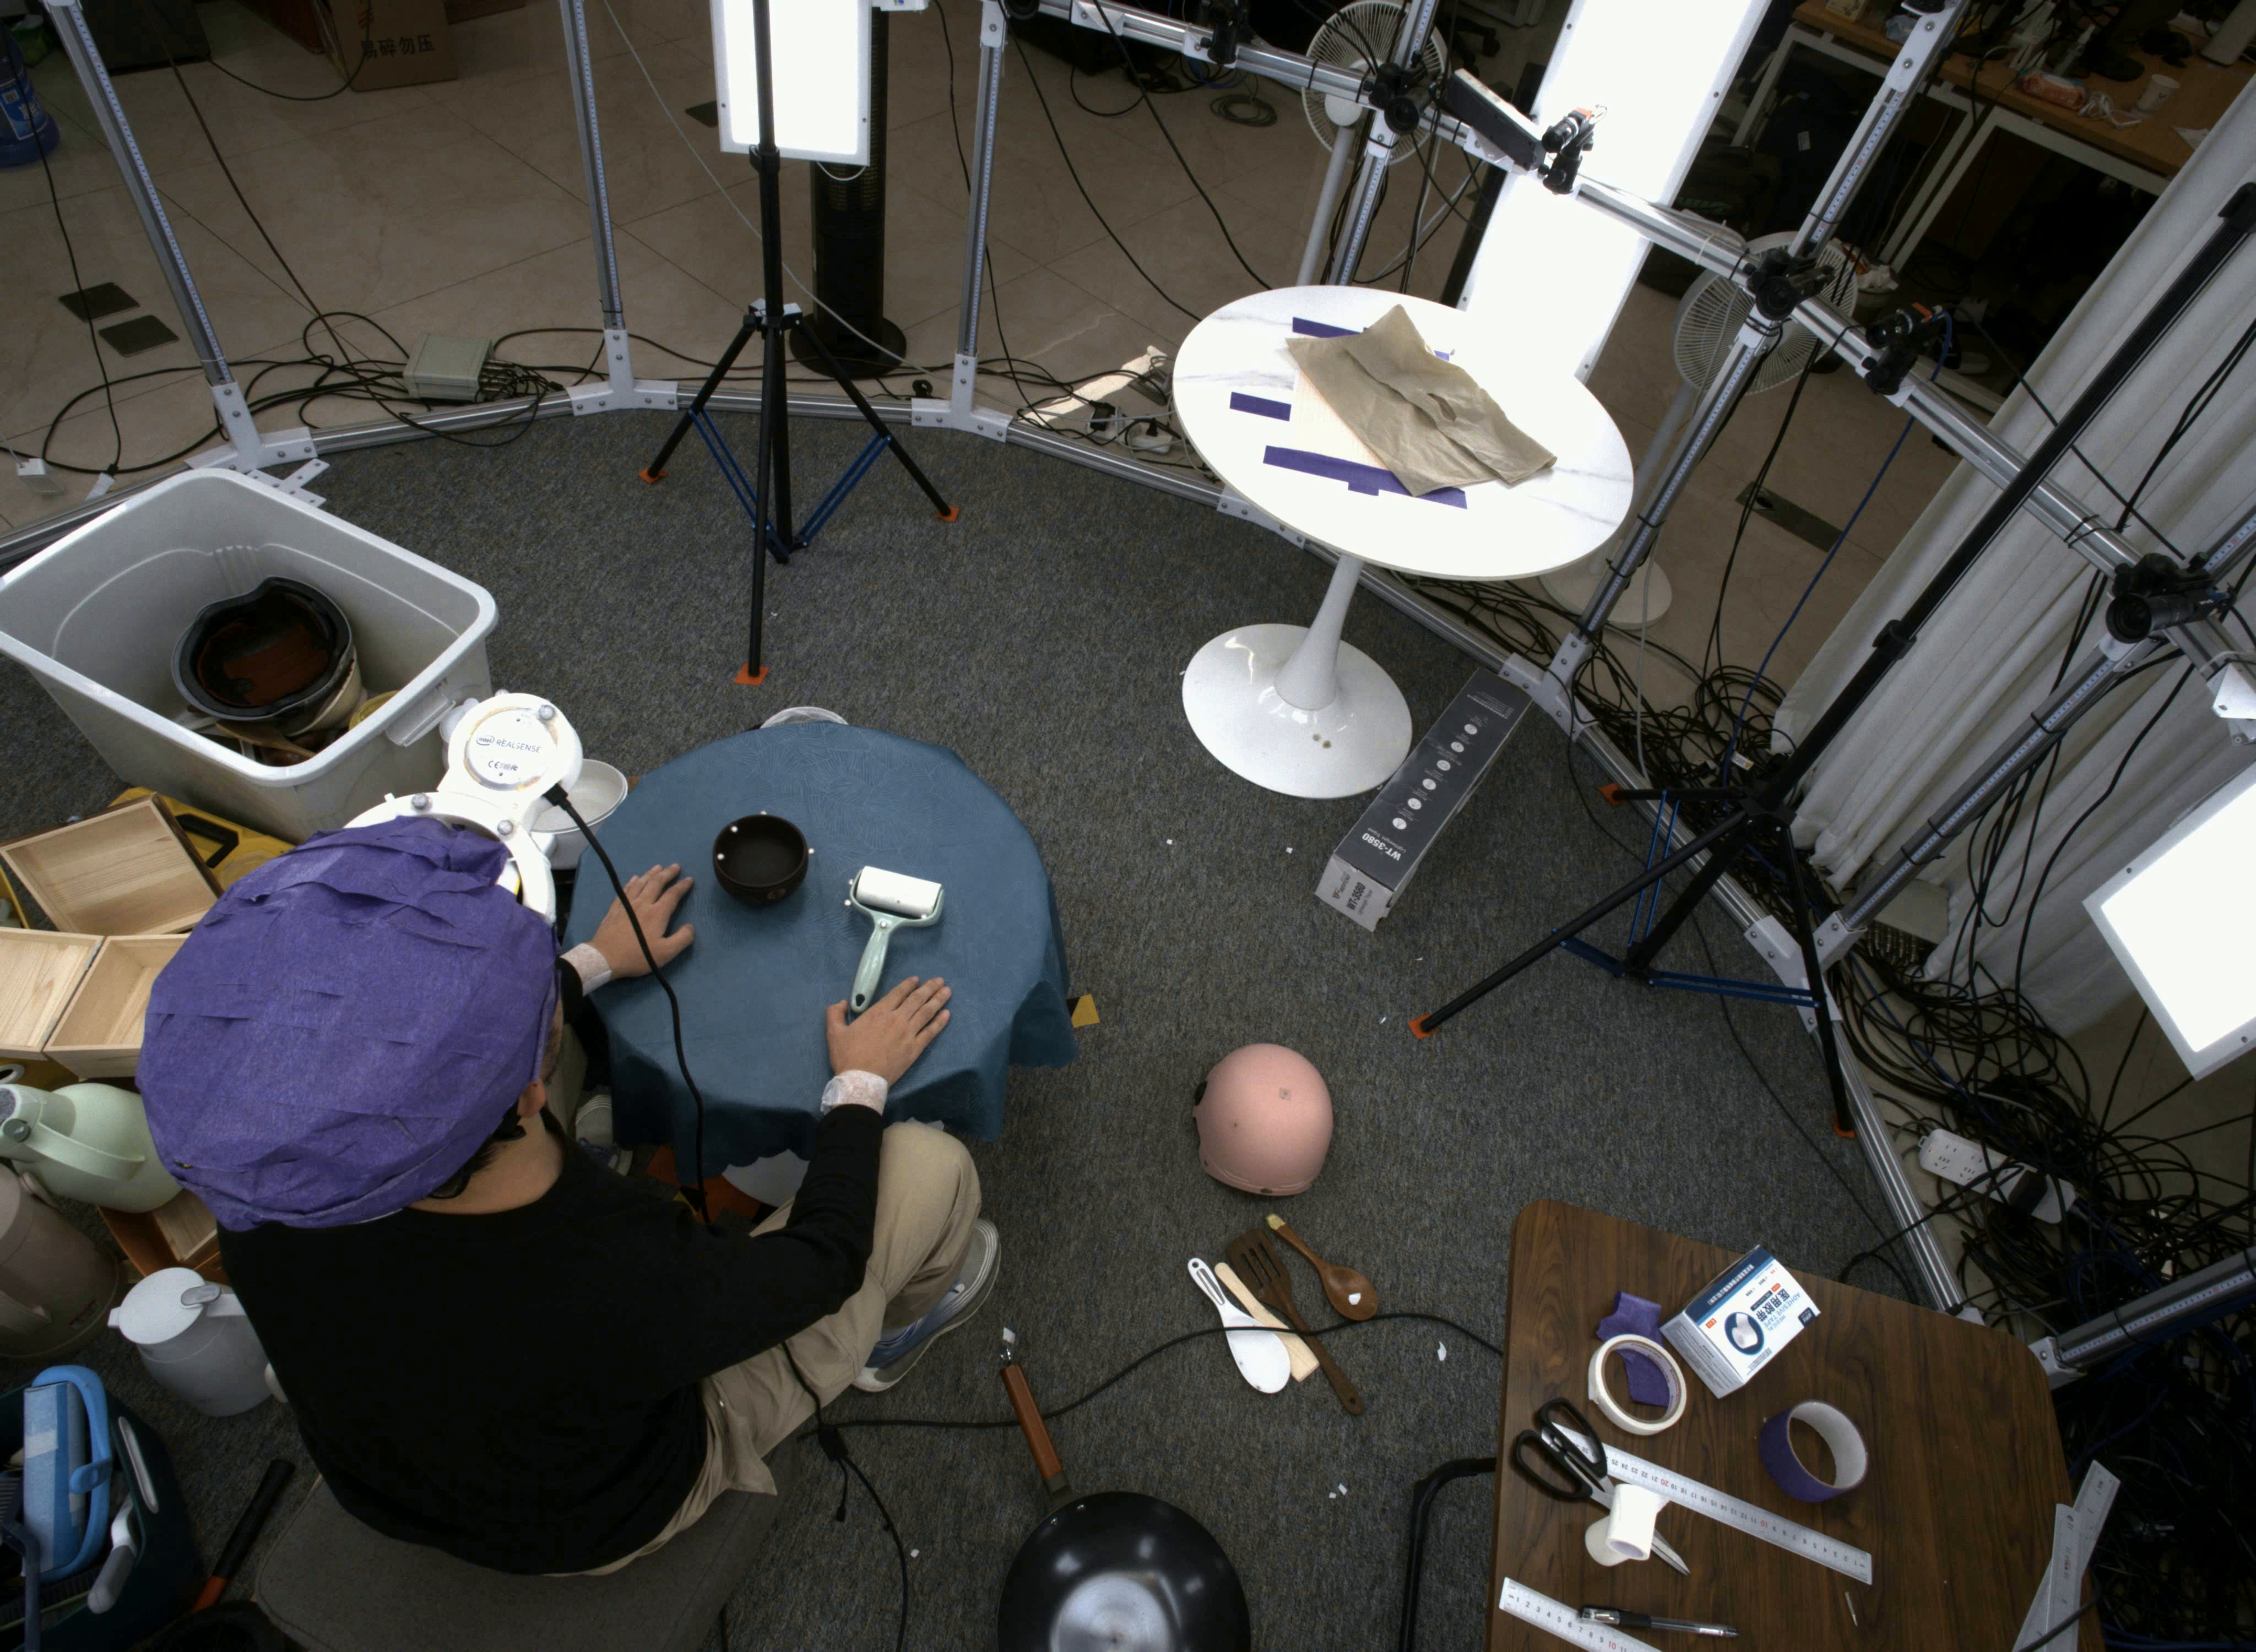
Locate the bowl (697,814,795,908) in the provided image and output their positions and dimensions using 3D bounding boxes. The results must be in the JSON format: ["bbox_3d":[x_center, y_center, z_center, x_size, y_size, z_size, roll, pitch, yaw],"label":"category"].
[{"bbox_3d":[-0.477,0.050,1.621,0.118,0.071,0.116,8,53,-9],"label":"bowl"}]

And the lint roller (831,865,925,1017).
[{"bbox_3d":[-0.327,0.139,1.611,0.116,0.049,0.195,14,54,-4],"label":"lint roller"}]
